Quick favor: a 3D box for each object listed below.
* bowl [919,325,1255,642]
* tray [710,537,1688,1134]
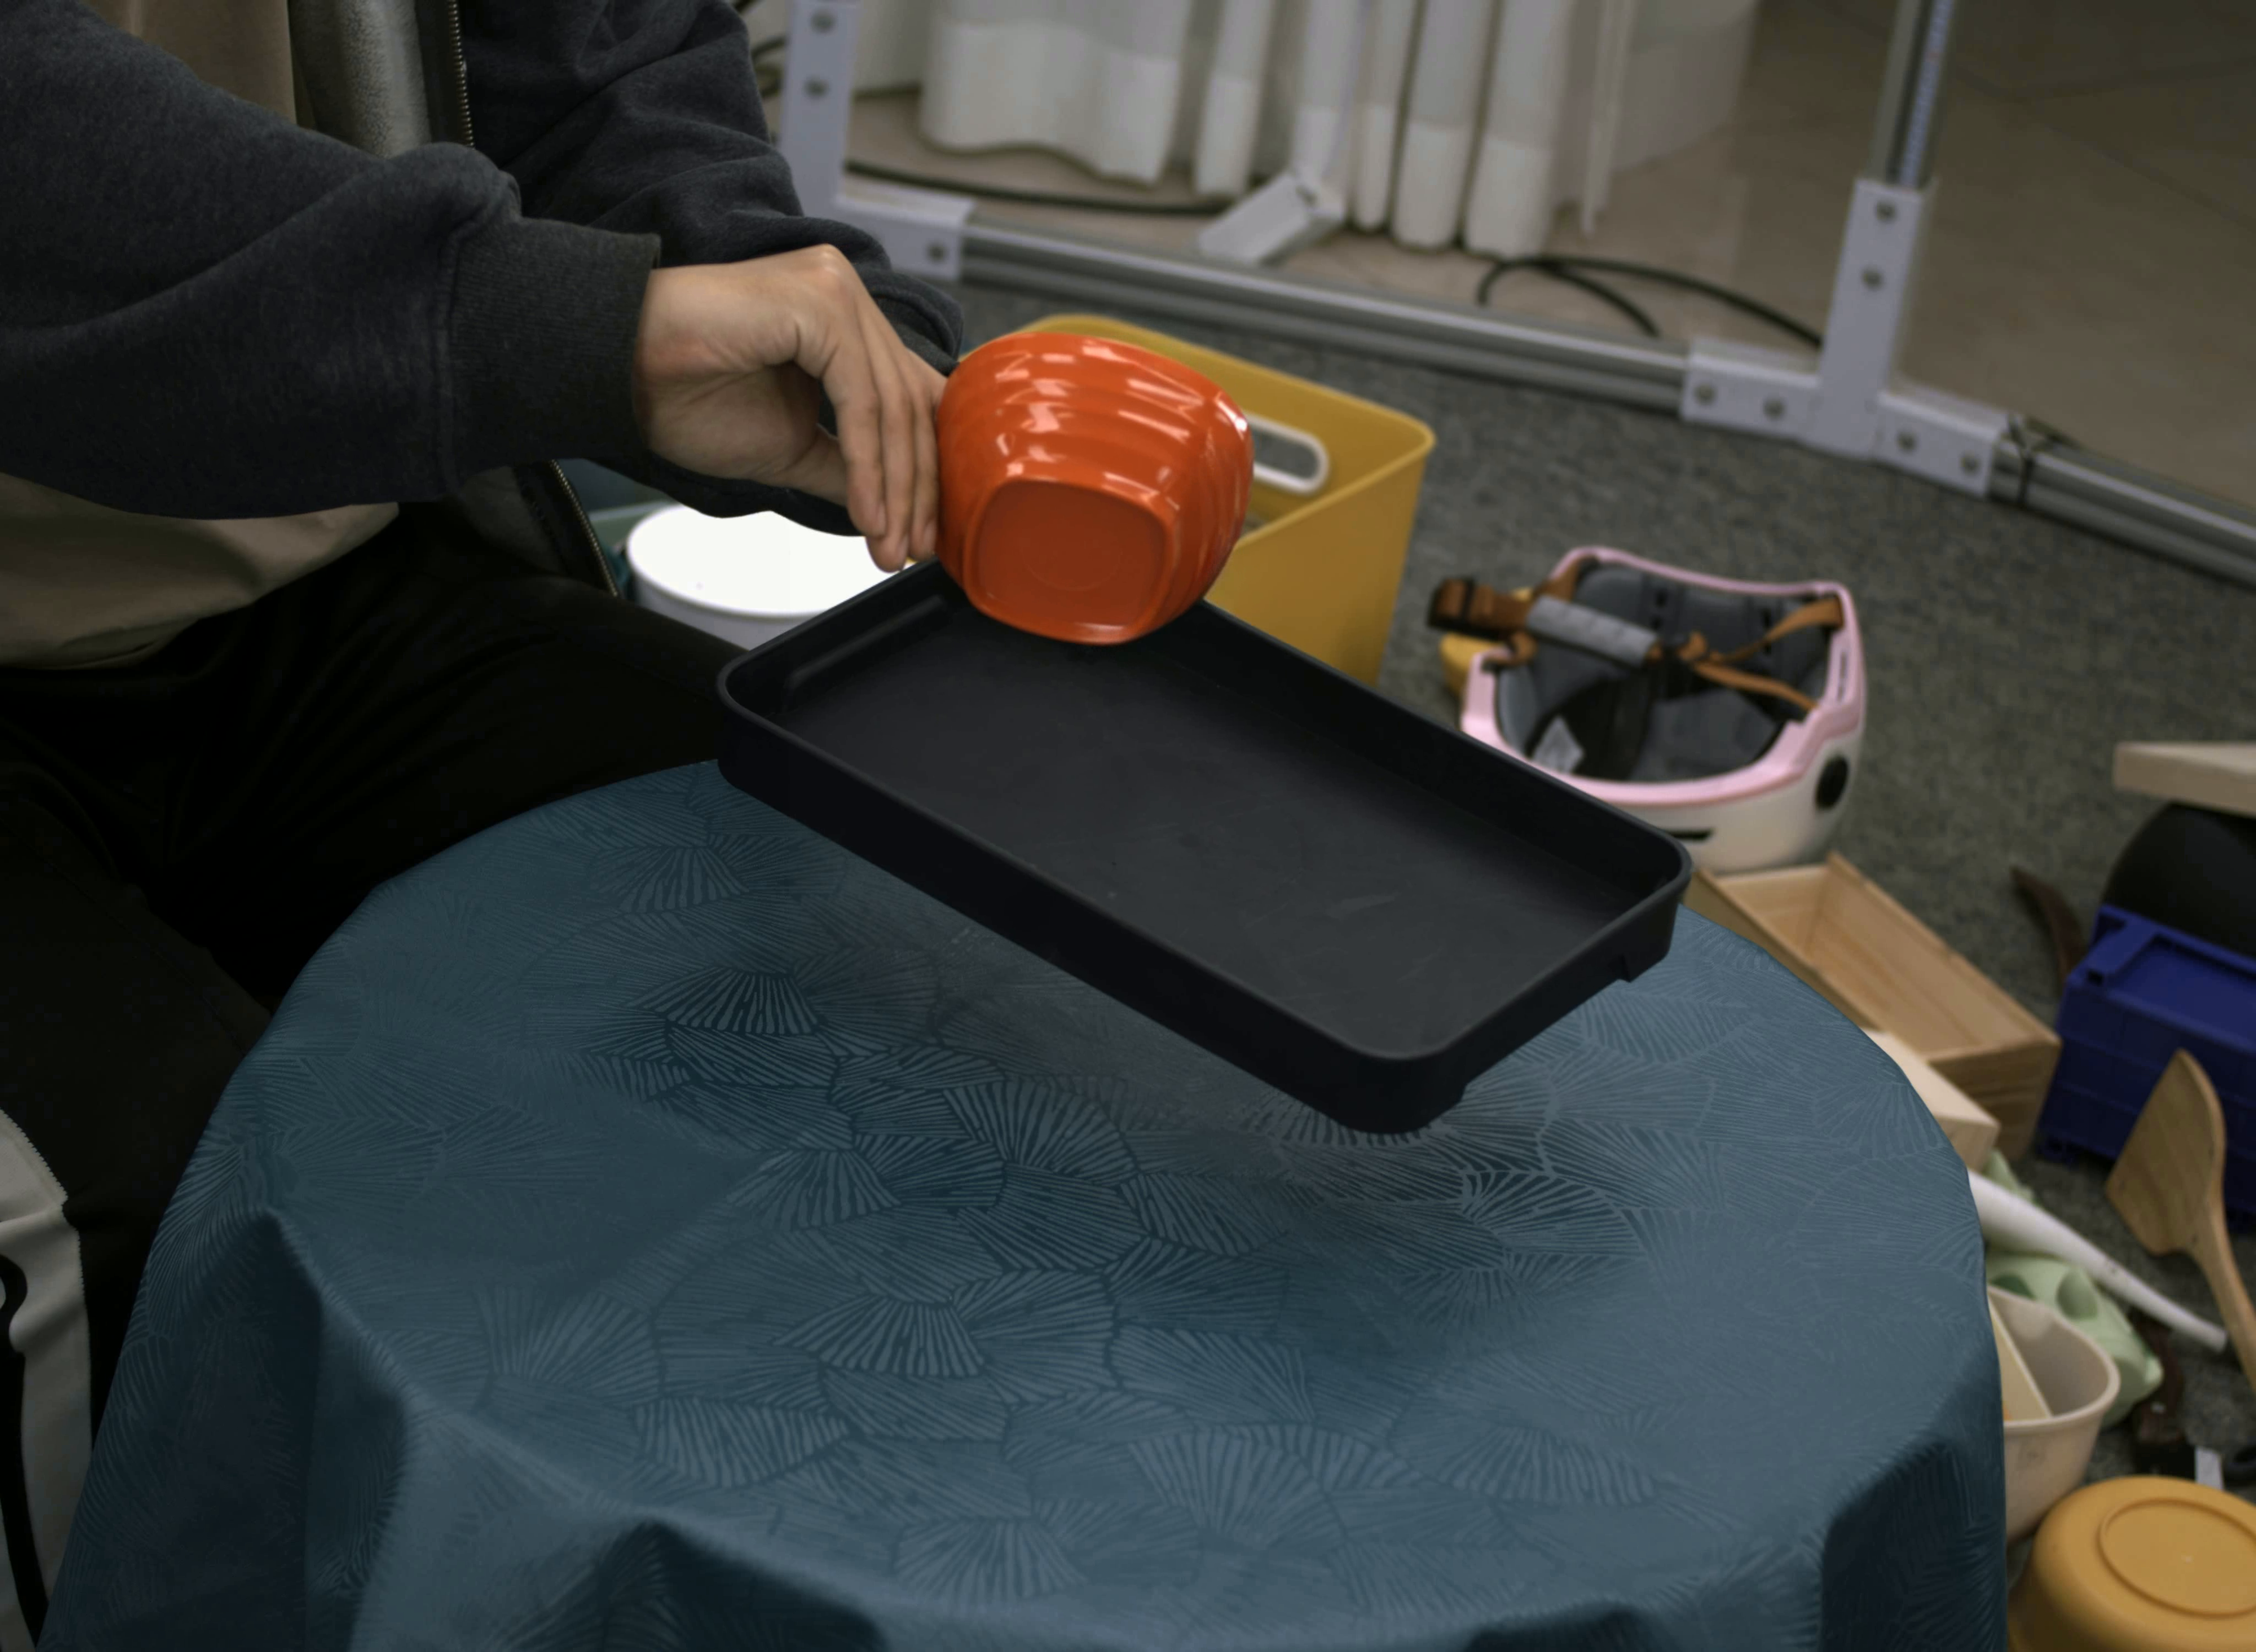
[{"bbox_3d":[-0.017,-0.103,1.737,0.119,0.118,0.051,9,43,4],"label":"bowl"},{"bbox_3d":[0.021,-0.008,1.856,0.320,0.037,0.184,29,39,29],"label":"tray"}]
